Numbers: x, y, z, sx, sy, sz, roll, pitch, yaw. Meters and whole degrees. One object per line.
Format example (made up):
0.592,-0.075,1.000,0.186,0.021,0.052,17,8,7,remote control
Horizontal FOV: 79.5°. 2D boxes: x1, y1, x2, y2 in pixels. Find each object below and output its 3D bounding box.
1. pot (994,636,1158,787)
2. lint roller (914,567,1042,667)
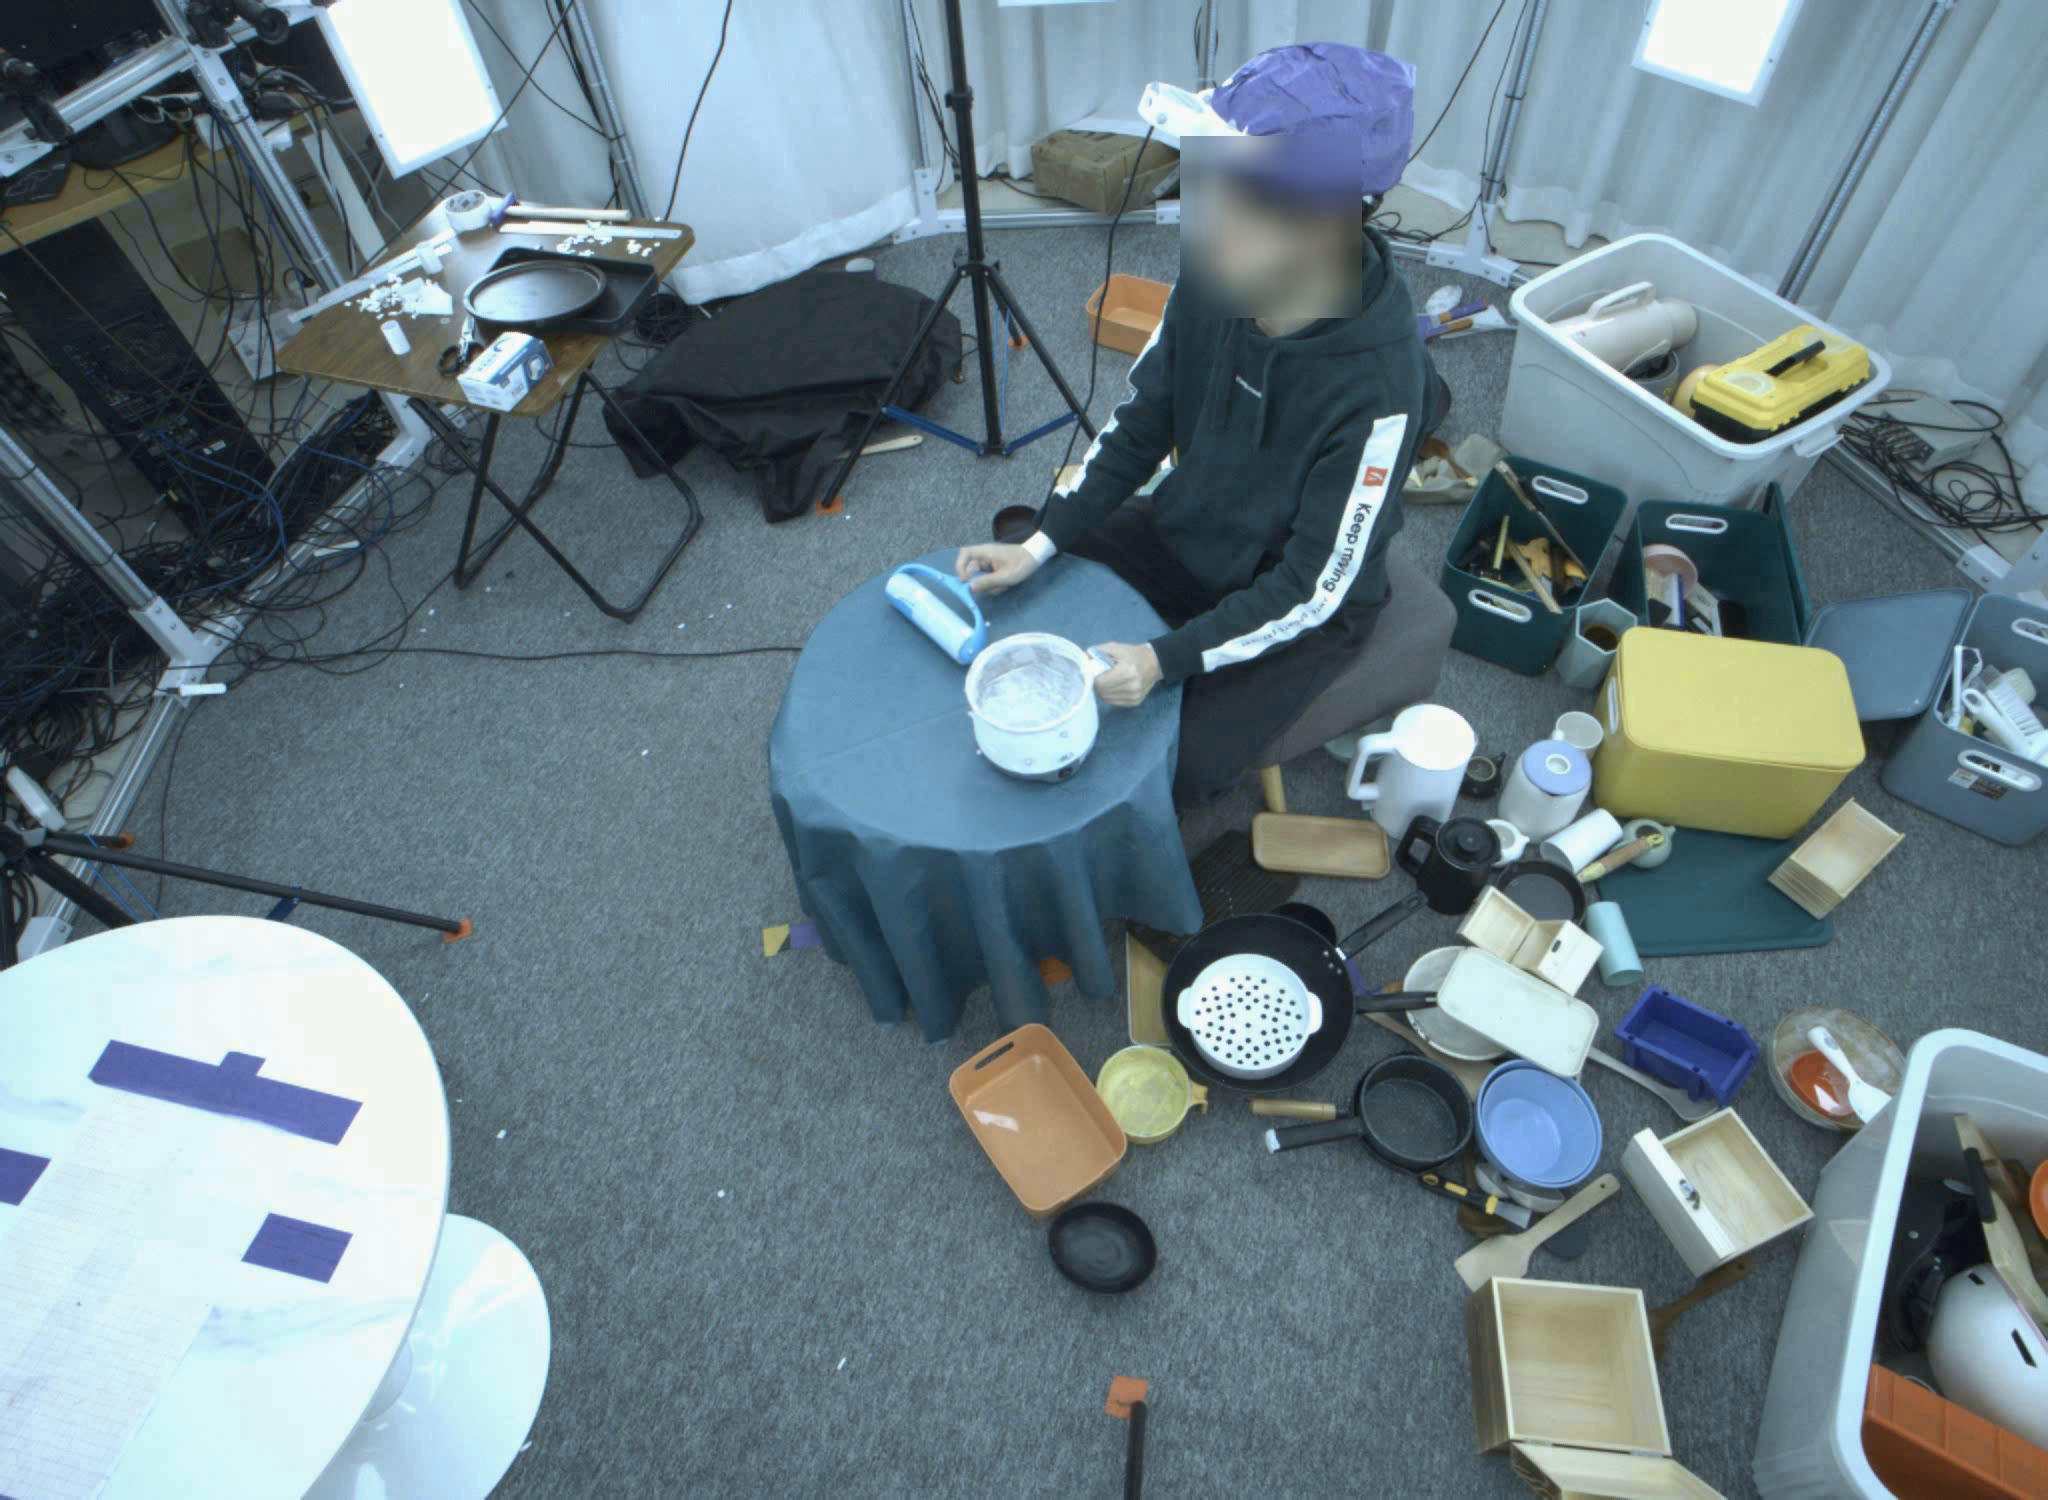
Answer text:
0.079,-0.063,1.733,0.235,0.138,0.175,-25,56,-11,pot
-0.050,-0.235,1.907,0.181,0.069,0.224,-39,56,-19,lint roller
